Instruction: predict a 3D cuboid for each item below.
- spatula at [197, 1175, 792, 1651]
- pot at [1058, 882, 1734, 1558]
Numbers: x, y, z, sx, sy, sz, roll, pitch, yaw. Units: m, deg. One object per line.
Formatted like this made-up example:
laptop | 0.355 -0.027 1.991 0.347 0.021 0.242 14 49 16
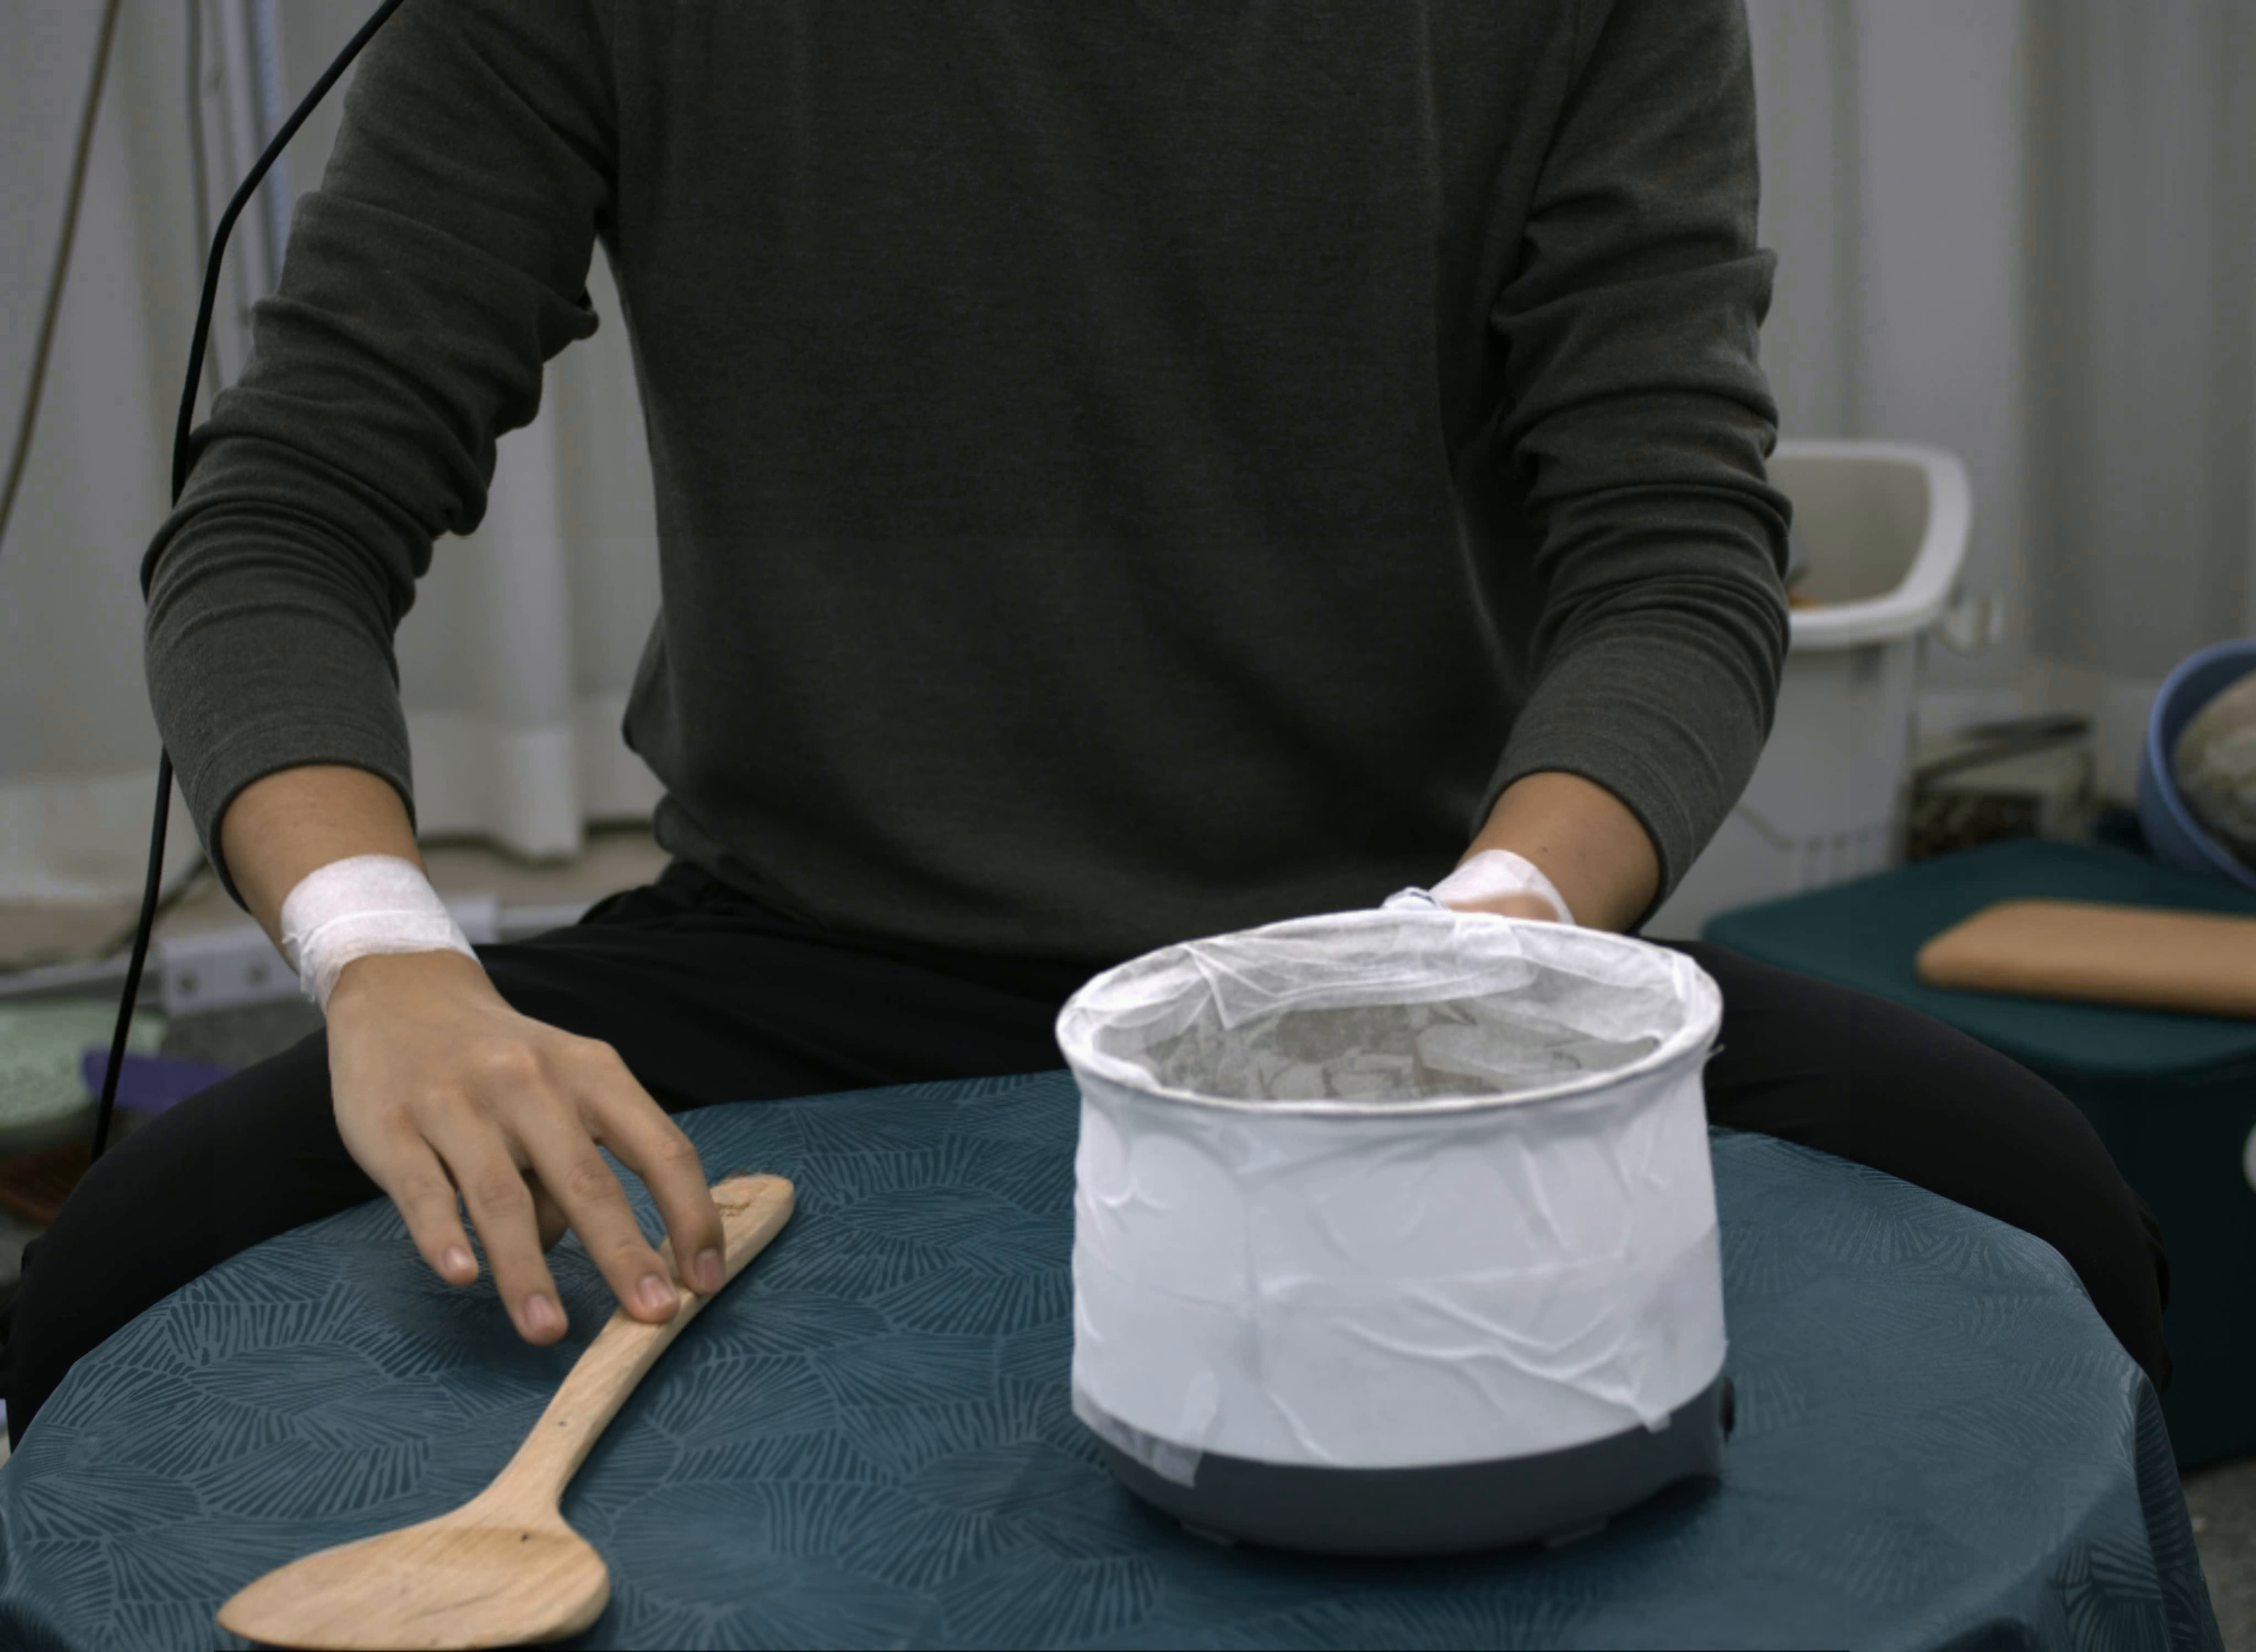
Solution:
spatula | -0.156 0.160 1.543 0.095 0.018 0.393 2 16 10
pot | 0.075 0.101 1.487 0.178 0.136 0.235 -1 15 6
